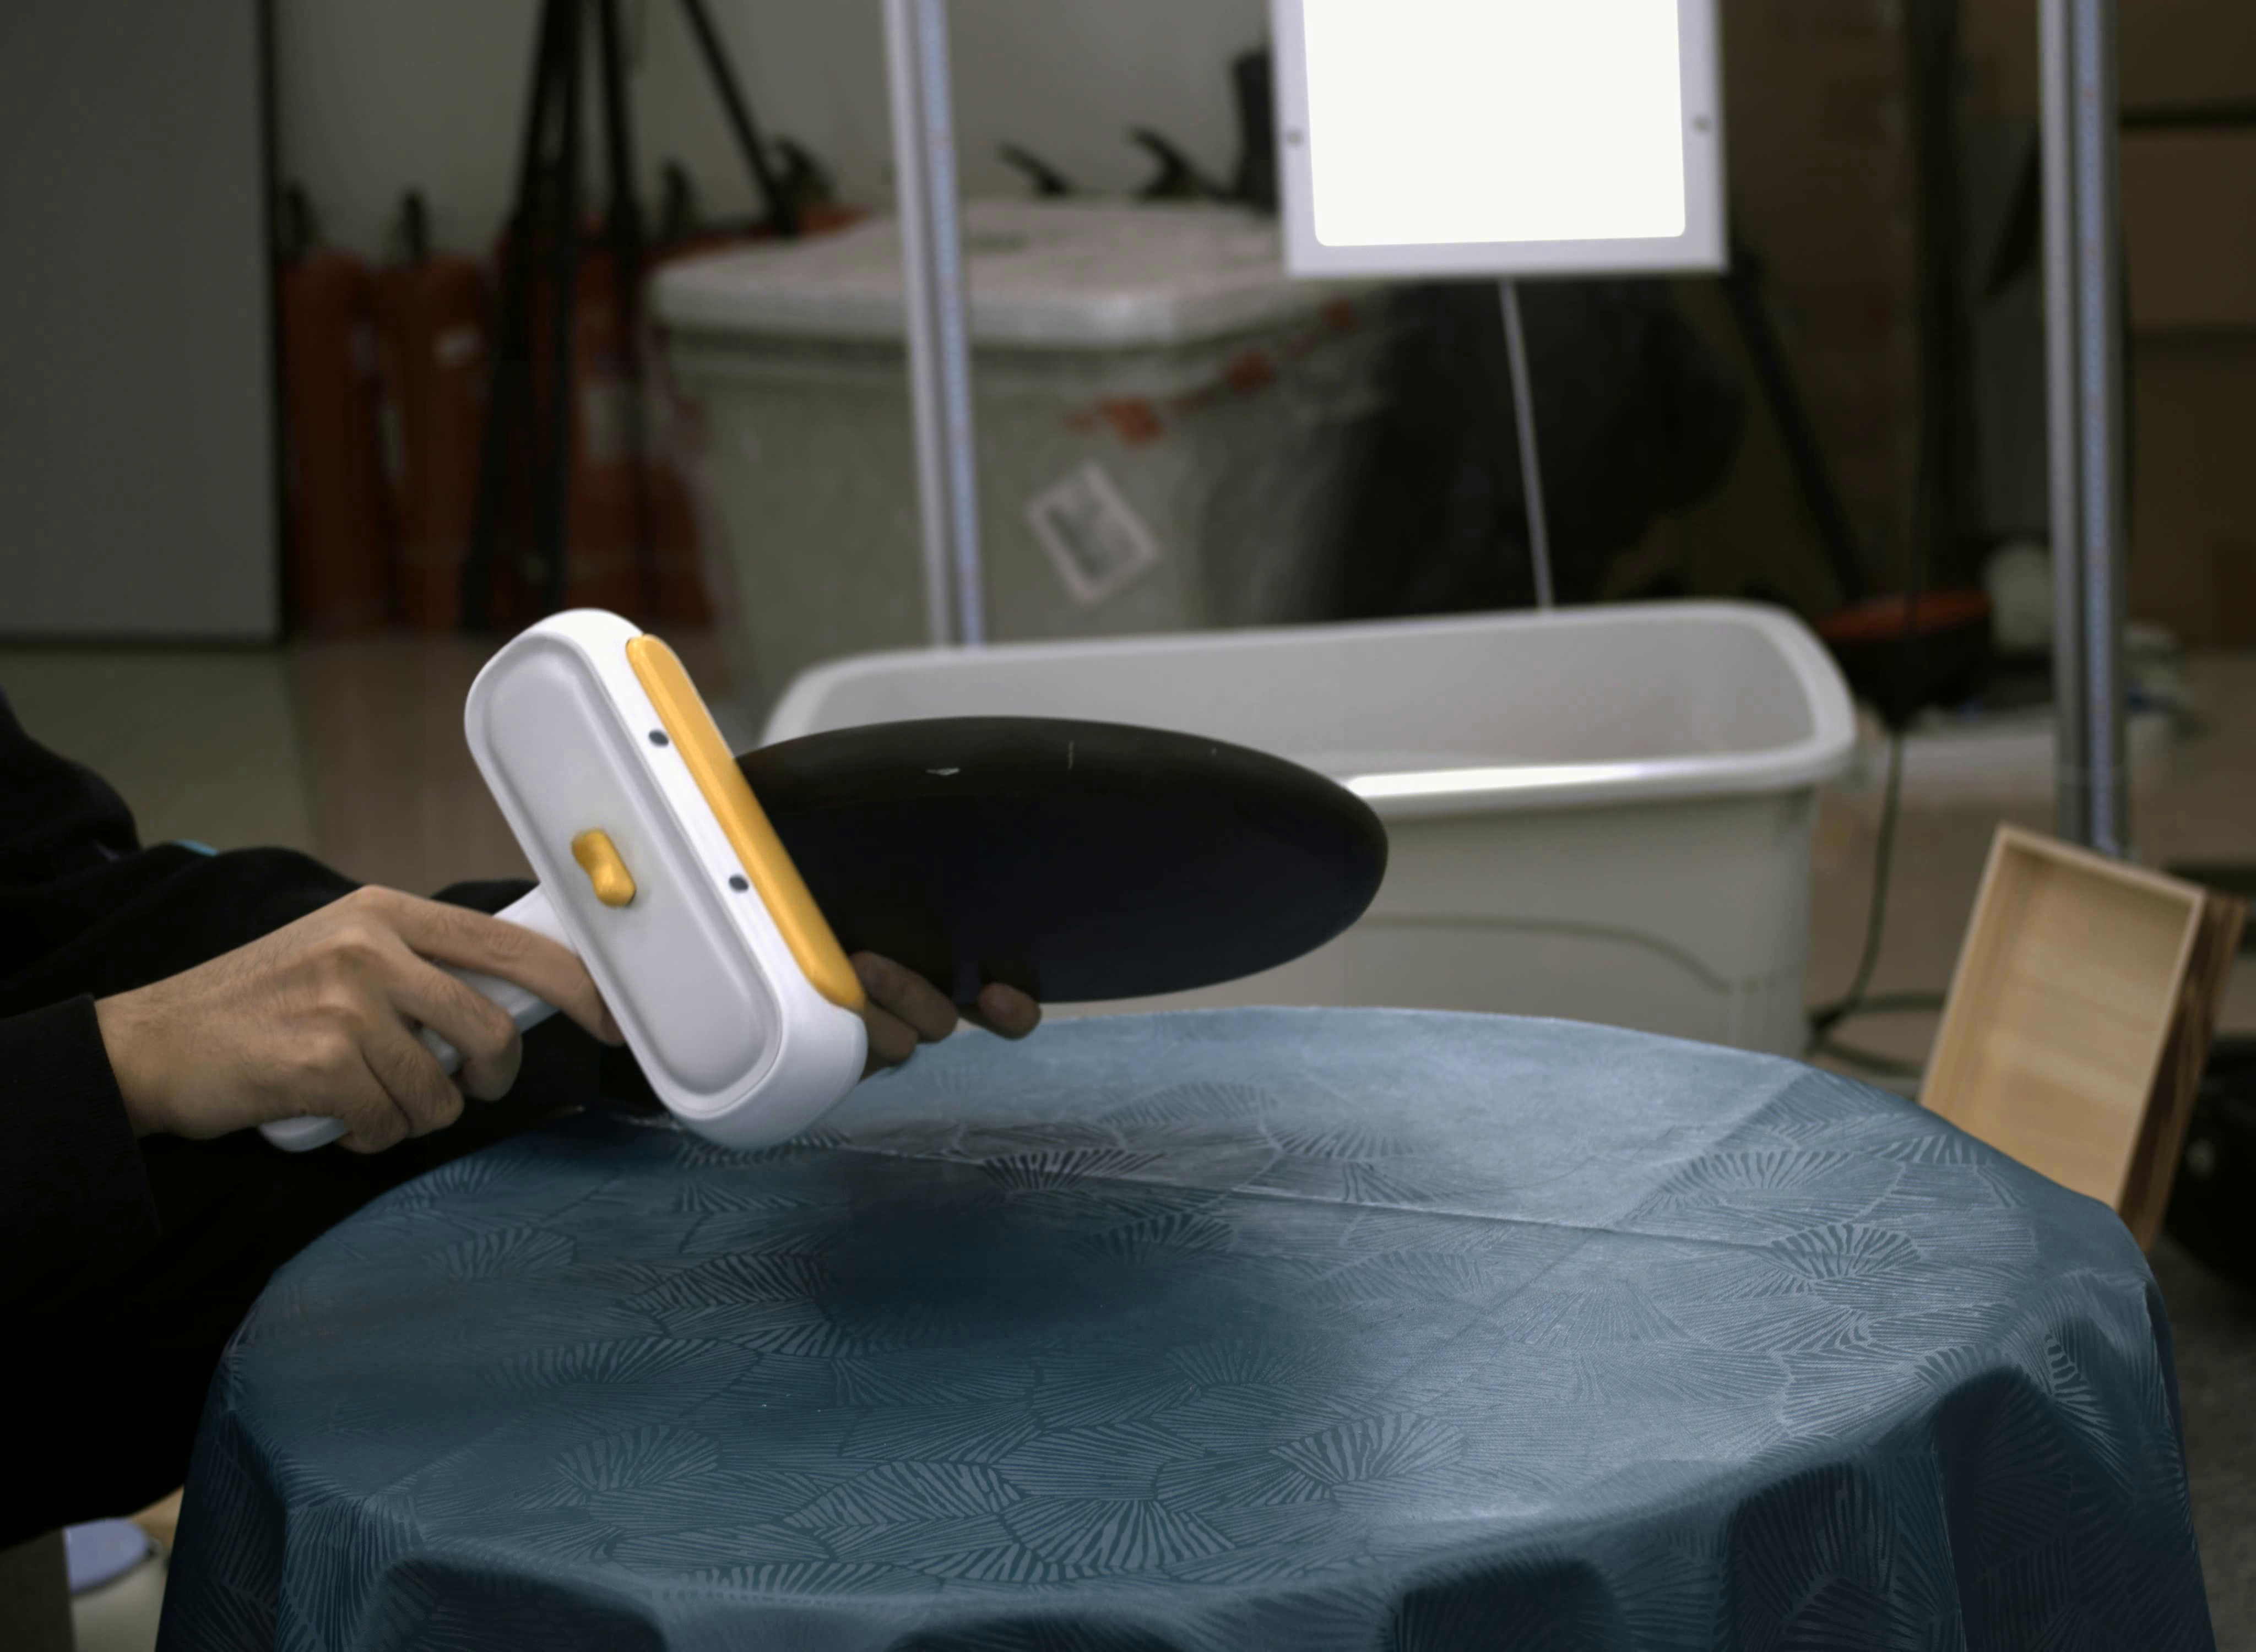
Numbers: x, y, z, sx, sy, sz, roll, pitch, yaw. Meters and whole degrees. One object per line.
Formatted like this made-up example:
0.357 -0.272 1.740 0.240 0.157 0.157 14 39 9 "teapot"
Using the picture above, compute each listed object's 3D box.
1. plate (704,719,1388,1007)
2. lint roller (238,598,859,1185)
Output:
-0.037 0.015 1.867 0.254 0.029 0.256 0 -20 -1 "plate"
-0.203 0.048 1.792 0.194 0.194 0.073 -39 -17 13 "lint roller"
